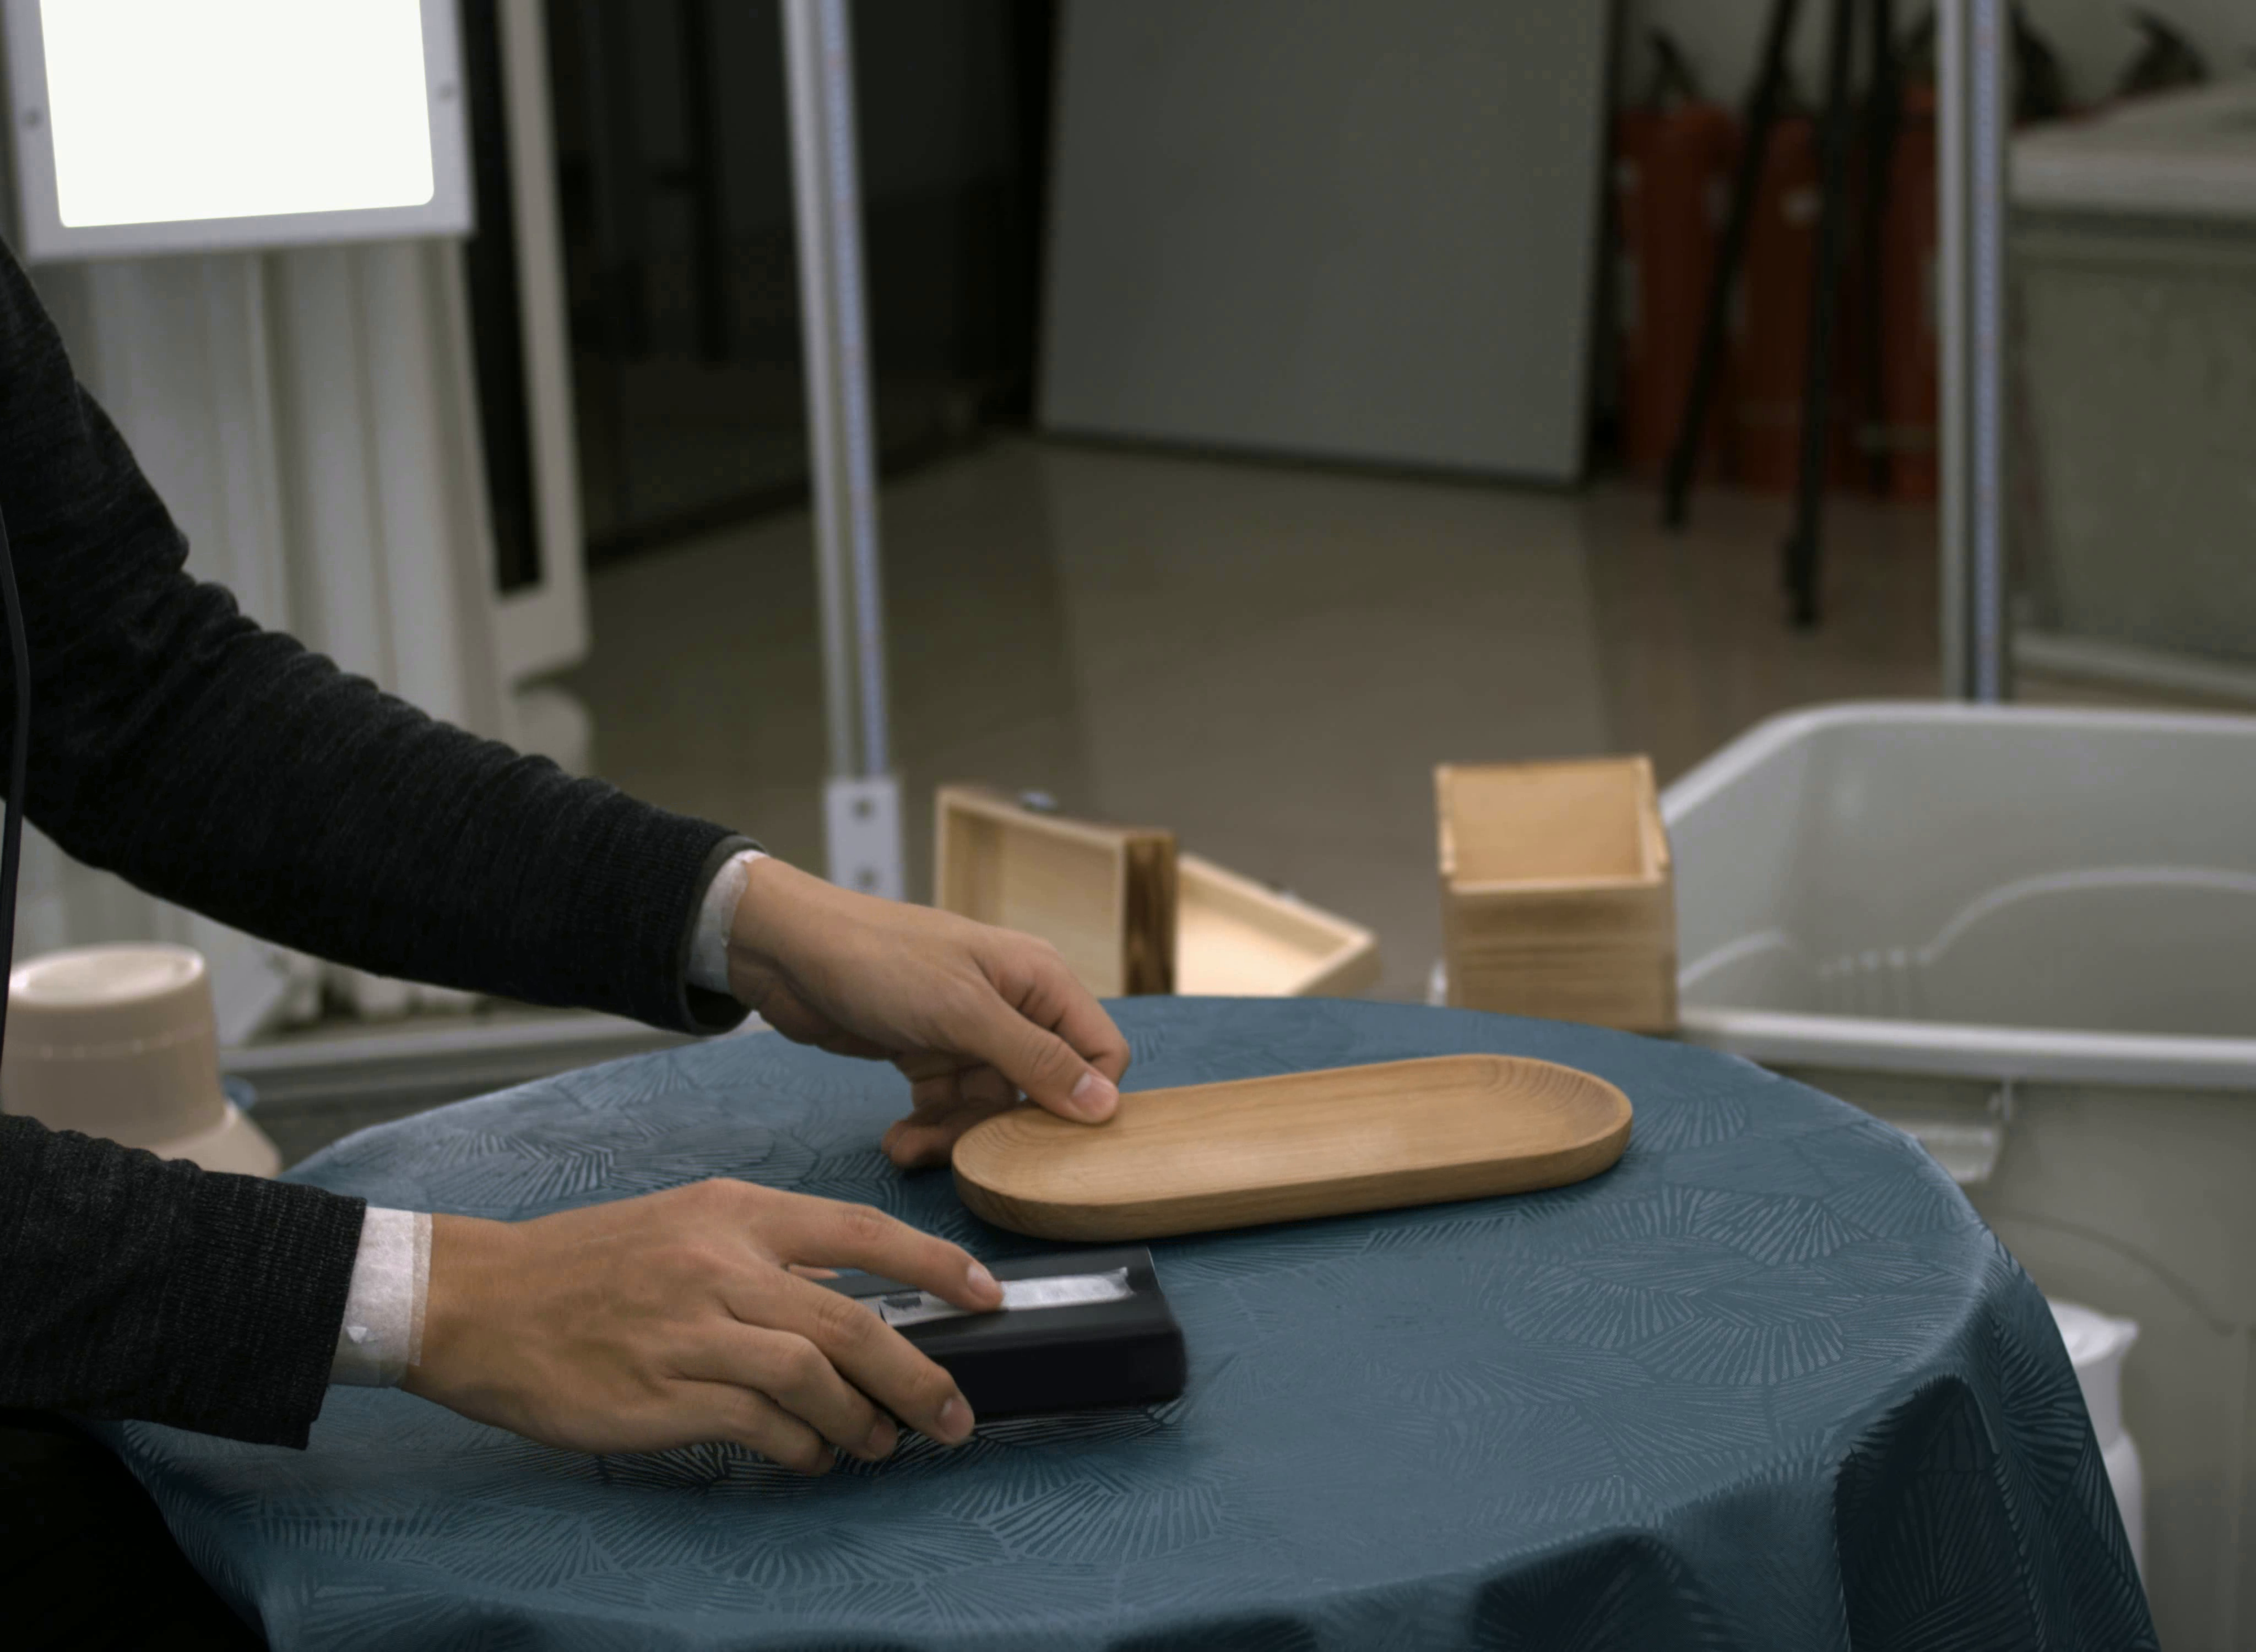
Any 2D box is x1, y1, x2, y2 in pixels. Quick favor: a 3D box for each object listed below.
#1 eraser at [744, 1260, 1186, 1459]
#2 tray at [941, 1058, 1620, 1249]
[{"bbox_3d":[-0.046,0.153,1.551,0.123,0.031,0.054,-6,20,-5],"label":"eraser"},{"bbox_3d":[0.051,0.107,1.763,0.227,0.020,0.102,-8,16,-14],"label":"tray"}]
